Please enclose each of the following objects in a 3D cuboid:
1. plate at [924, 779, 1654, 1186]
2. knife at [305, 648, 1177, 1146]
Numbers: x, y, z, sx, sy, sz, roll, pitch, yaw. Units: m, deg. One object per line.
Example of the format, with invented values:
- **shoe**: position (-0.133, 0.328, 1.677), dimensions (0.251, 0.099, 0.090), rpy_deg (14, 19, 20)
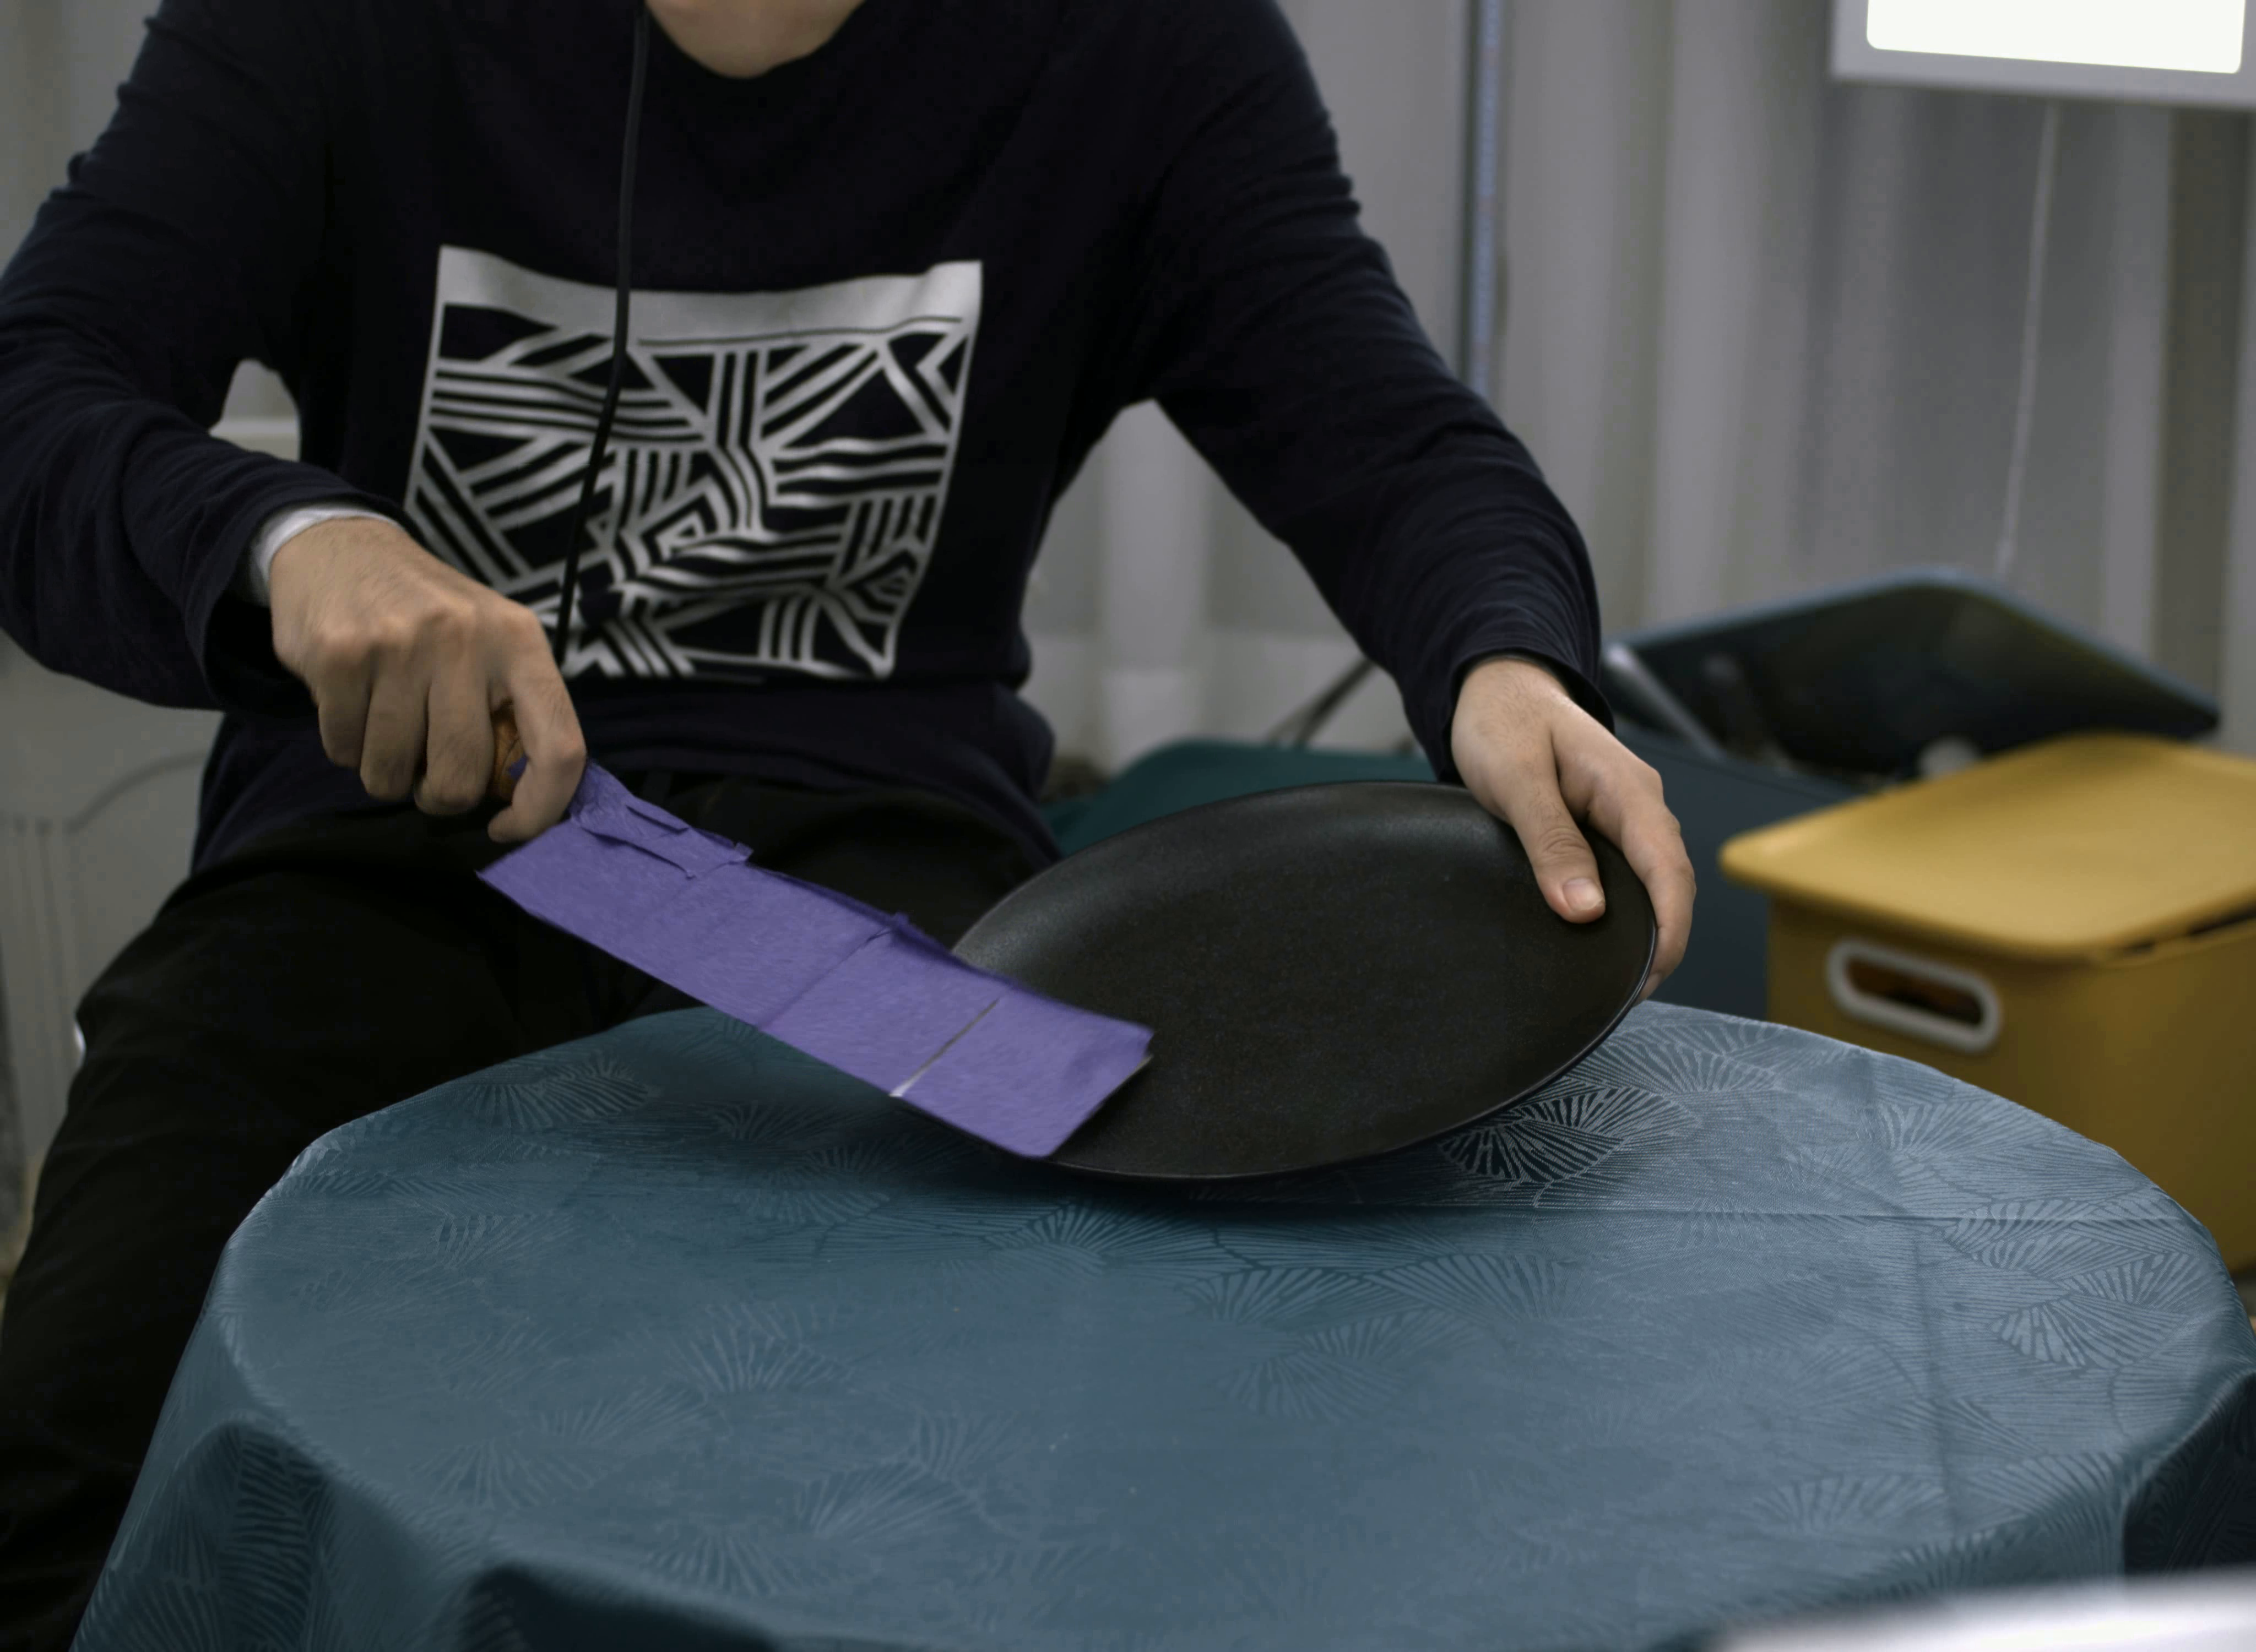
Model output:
- **plate**: position (0.050, 0.054, 1.698), dimensions (0.243, 0.024, 0.242), rpy_deg (-9, 29, 6)
- **knife**: position (-0.140, 0.021, 1.682), dimensions (0.312, 0.032, 0.104), rpy_deg (23, 27, 14)
